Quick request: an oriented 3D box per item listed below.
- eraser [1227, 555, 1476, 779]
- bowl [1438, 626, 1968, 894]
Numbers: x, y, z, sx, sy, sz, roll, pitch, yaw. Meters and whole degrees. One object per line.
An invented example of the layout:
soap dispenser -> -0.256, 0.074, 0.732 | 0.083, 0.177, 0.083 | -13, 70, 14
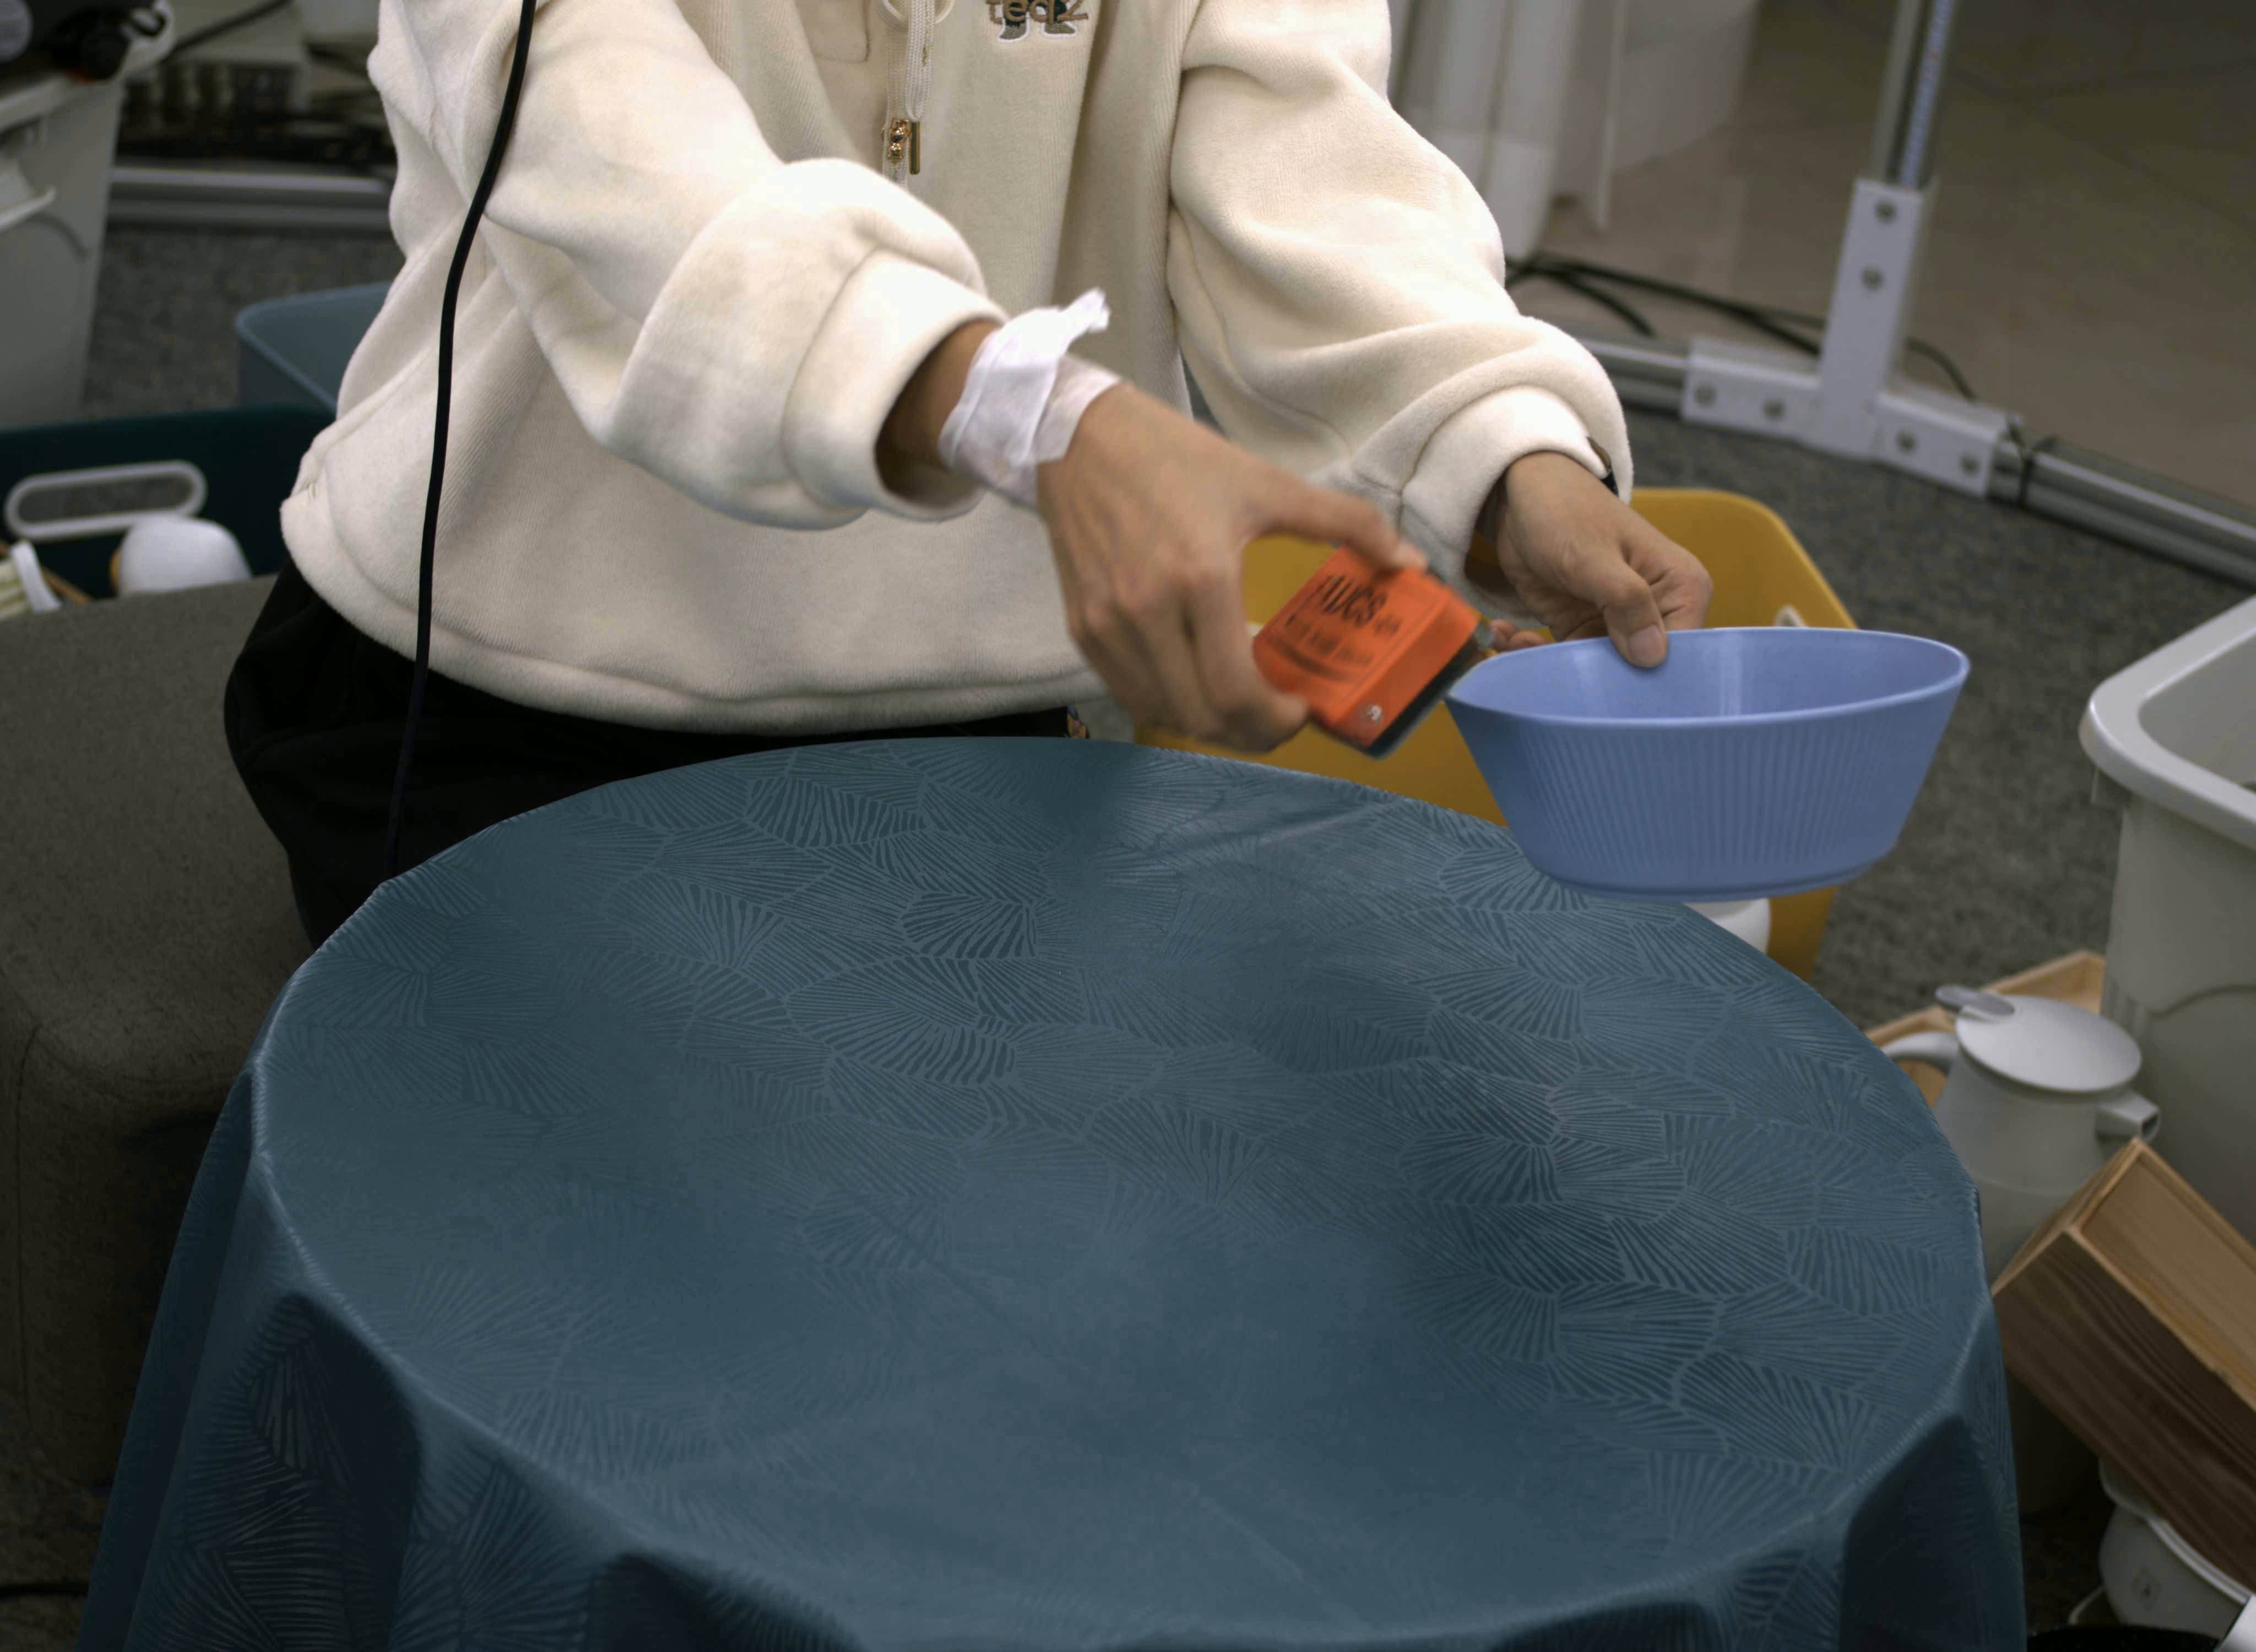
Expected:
eraser -> 0.072, -0.052, 1.730 | 0.023, 0.059, 0.108 | 42, -1, -21
bowl -> 0.191, -0.021, 1.767 | 0.175, 0.070, 0.176 | -4, 11, 0
